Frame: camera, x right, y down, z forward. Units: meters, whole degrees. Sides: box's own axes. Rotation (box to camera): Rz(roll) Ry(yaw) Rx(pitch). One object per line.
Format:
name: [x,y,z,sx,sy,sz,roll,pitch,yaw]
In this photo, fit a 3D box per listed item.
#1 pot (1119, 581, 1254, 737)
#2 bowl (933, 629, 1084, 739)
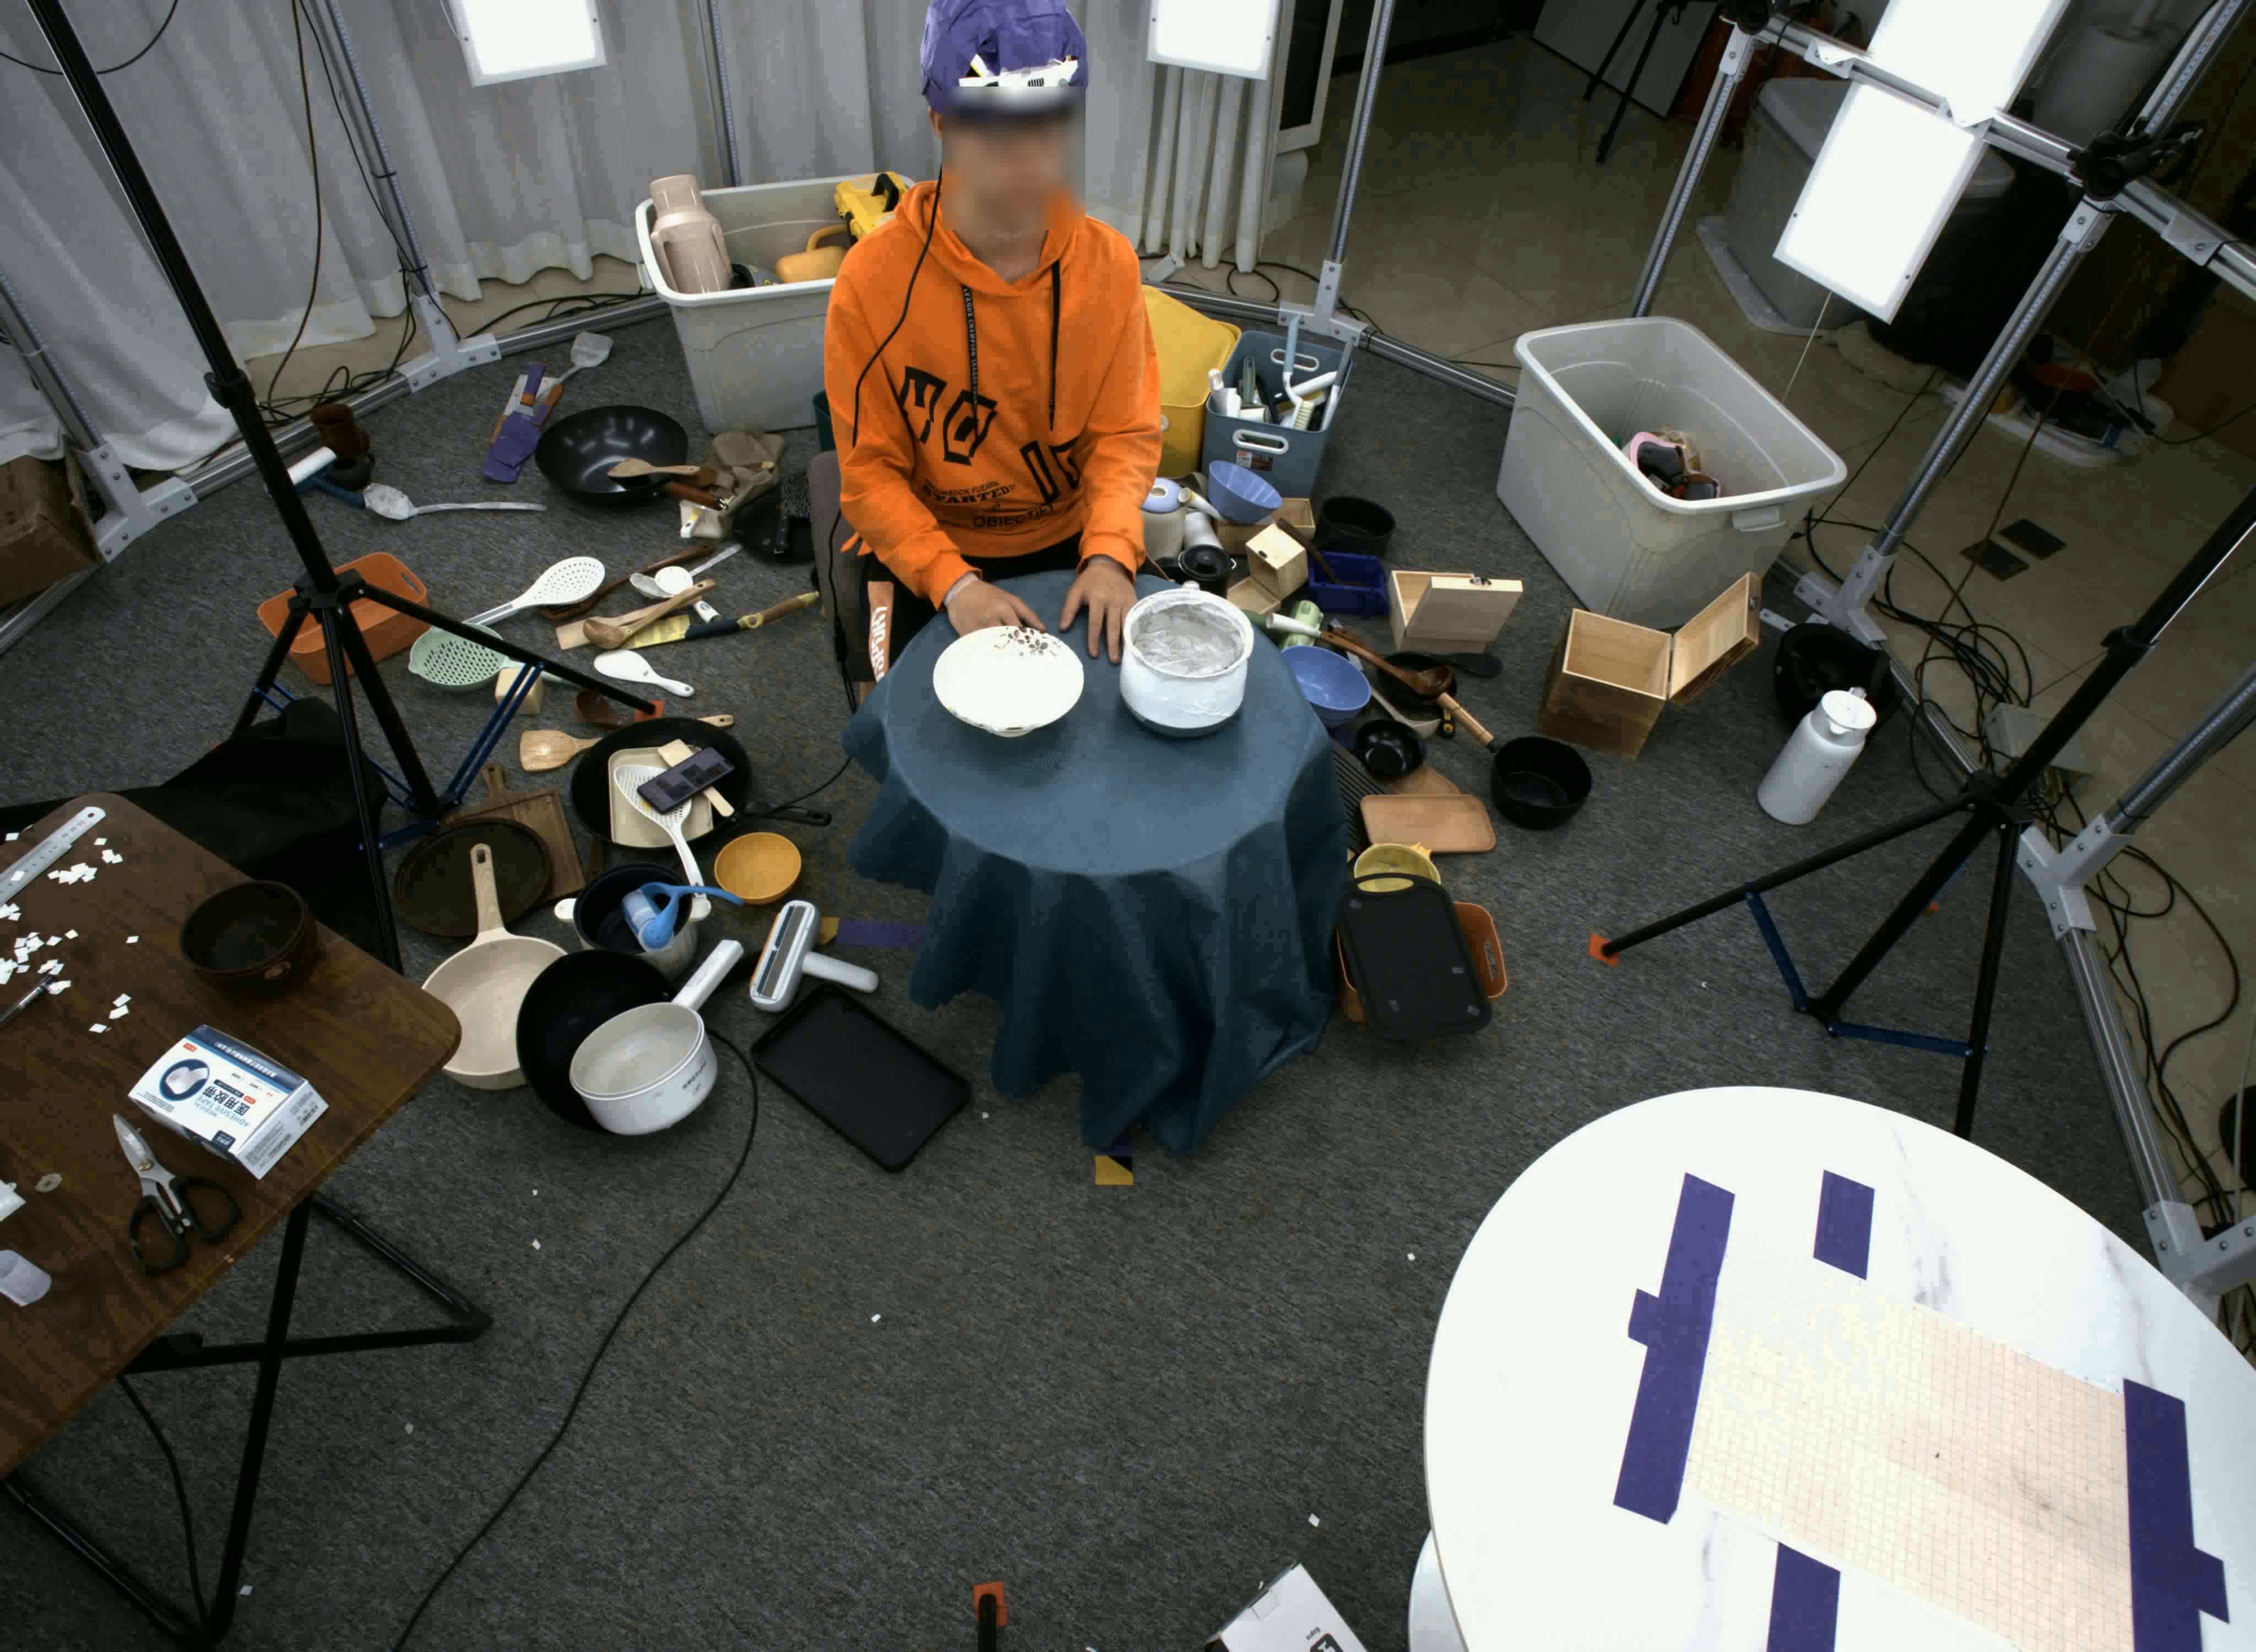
pot: [0.079,-0.243,1.797,0.178,0.133,0.239,4,49,-1]
bowl: [-0.162,-0.177,1.763,0.204,0.076,0.209,1,47,-2]
